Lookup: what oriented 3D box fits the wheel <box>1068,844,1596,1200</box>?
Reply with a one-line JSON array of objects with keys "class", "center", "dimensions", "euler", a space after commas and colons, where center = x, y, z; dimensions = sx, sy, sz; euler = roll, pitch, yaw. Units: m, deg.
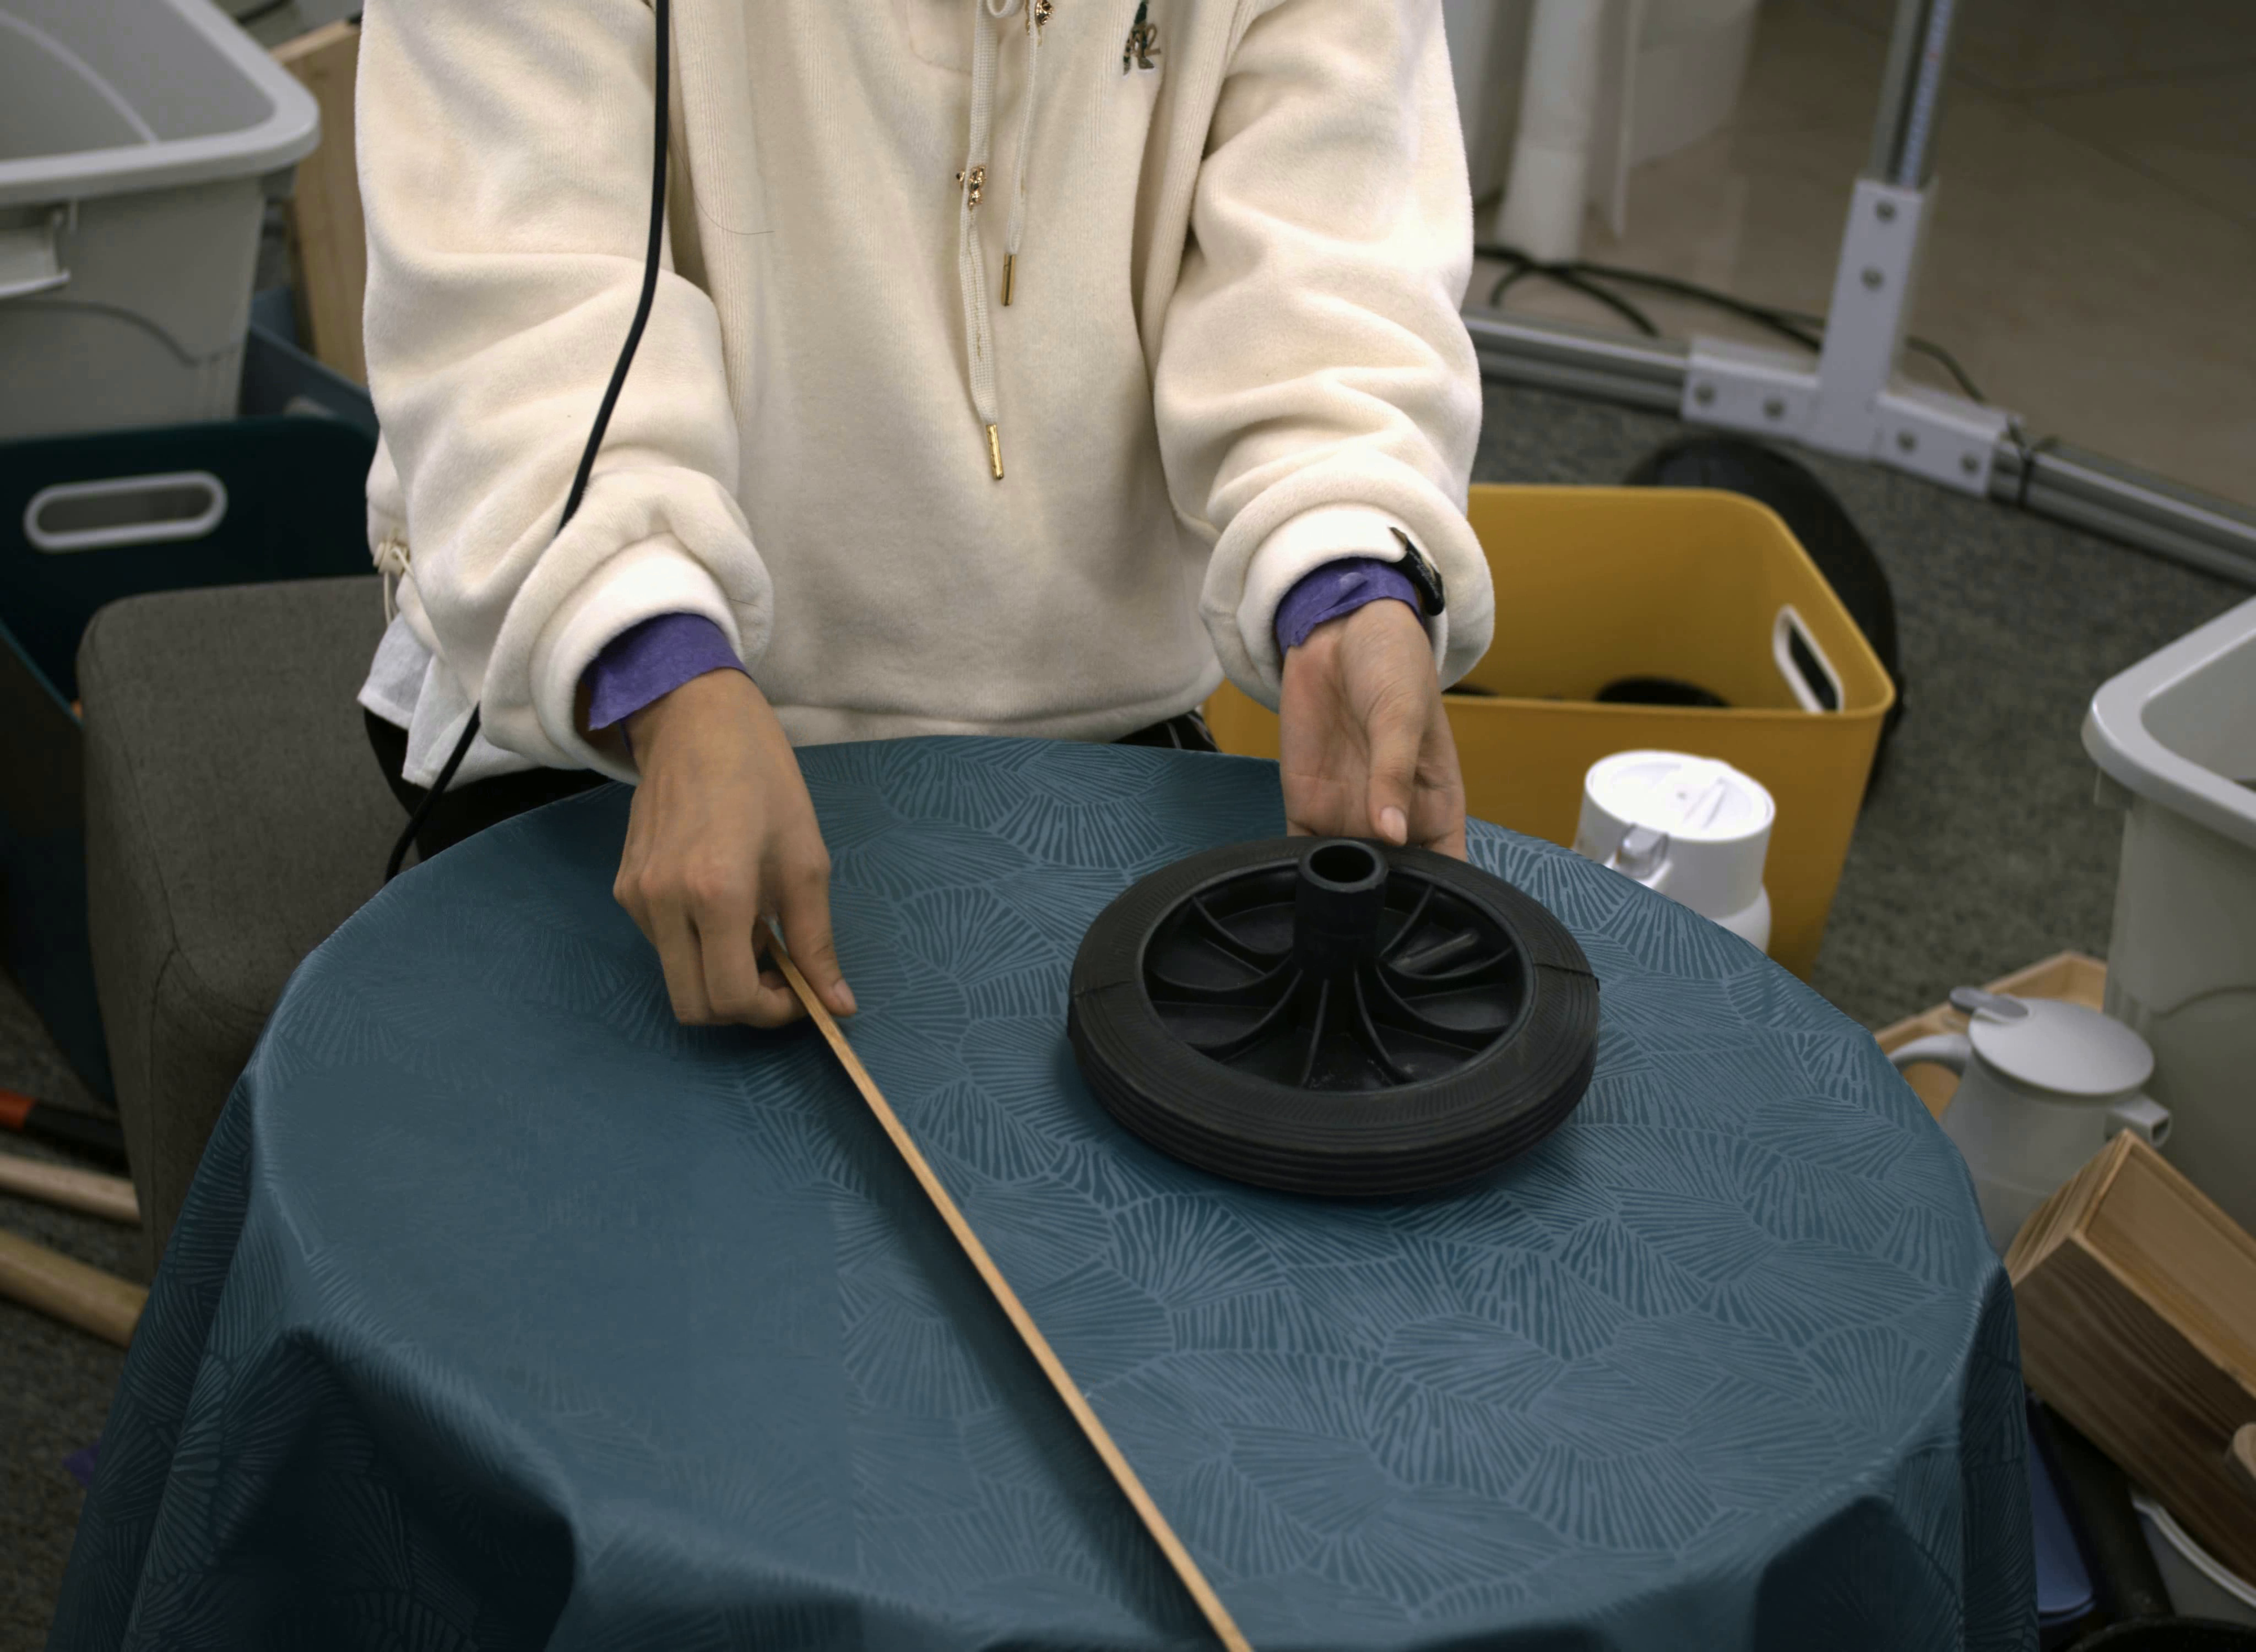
[{"class": "wheel", "center": [0.073, 0.049, 1.865], "dimensions": [0.188, 0.079, 0.190], "euler": [20, 38, 24]}]

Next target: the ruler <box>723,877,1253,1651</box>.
[{"class": "ruler", "center": [-0.050, 0.139, 1.735], "dimensions": [0.006, 0.026, 0.505], "euler": [-36, 35, -2]}]
